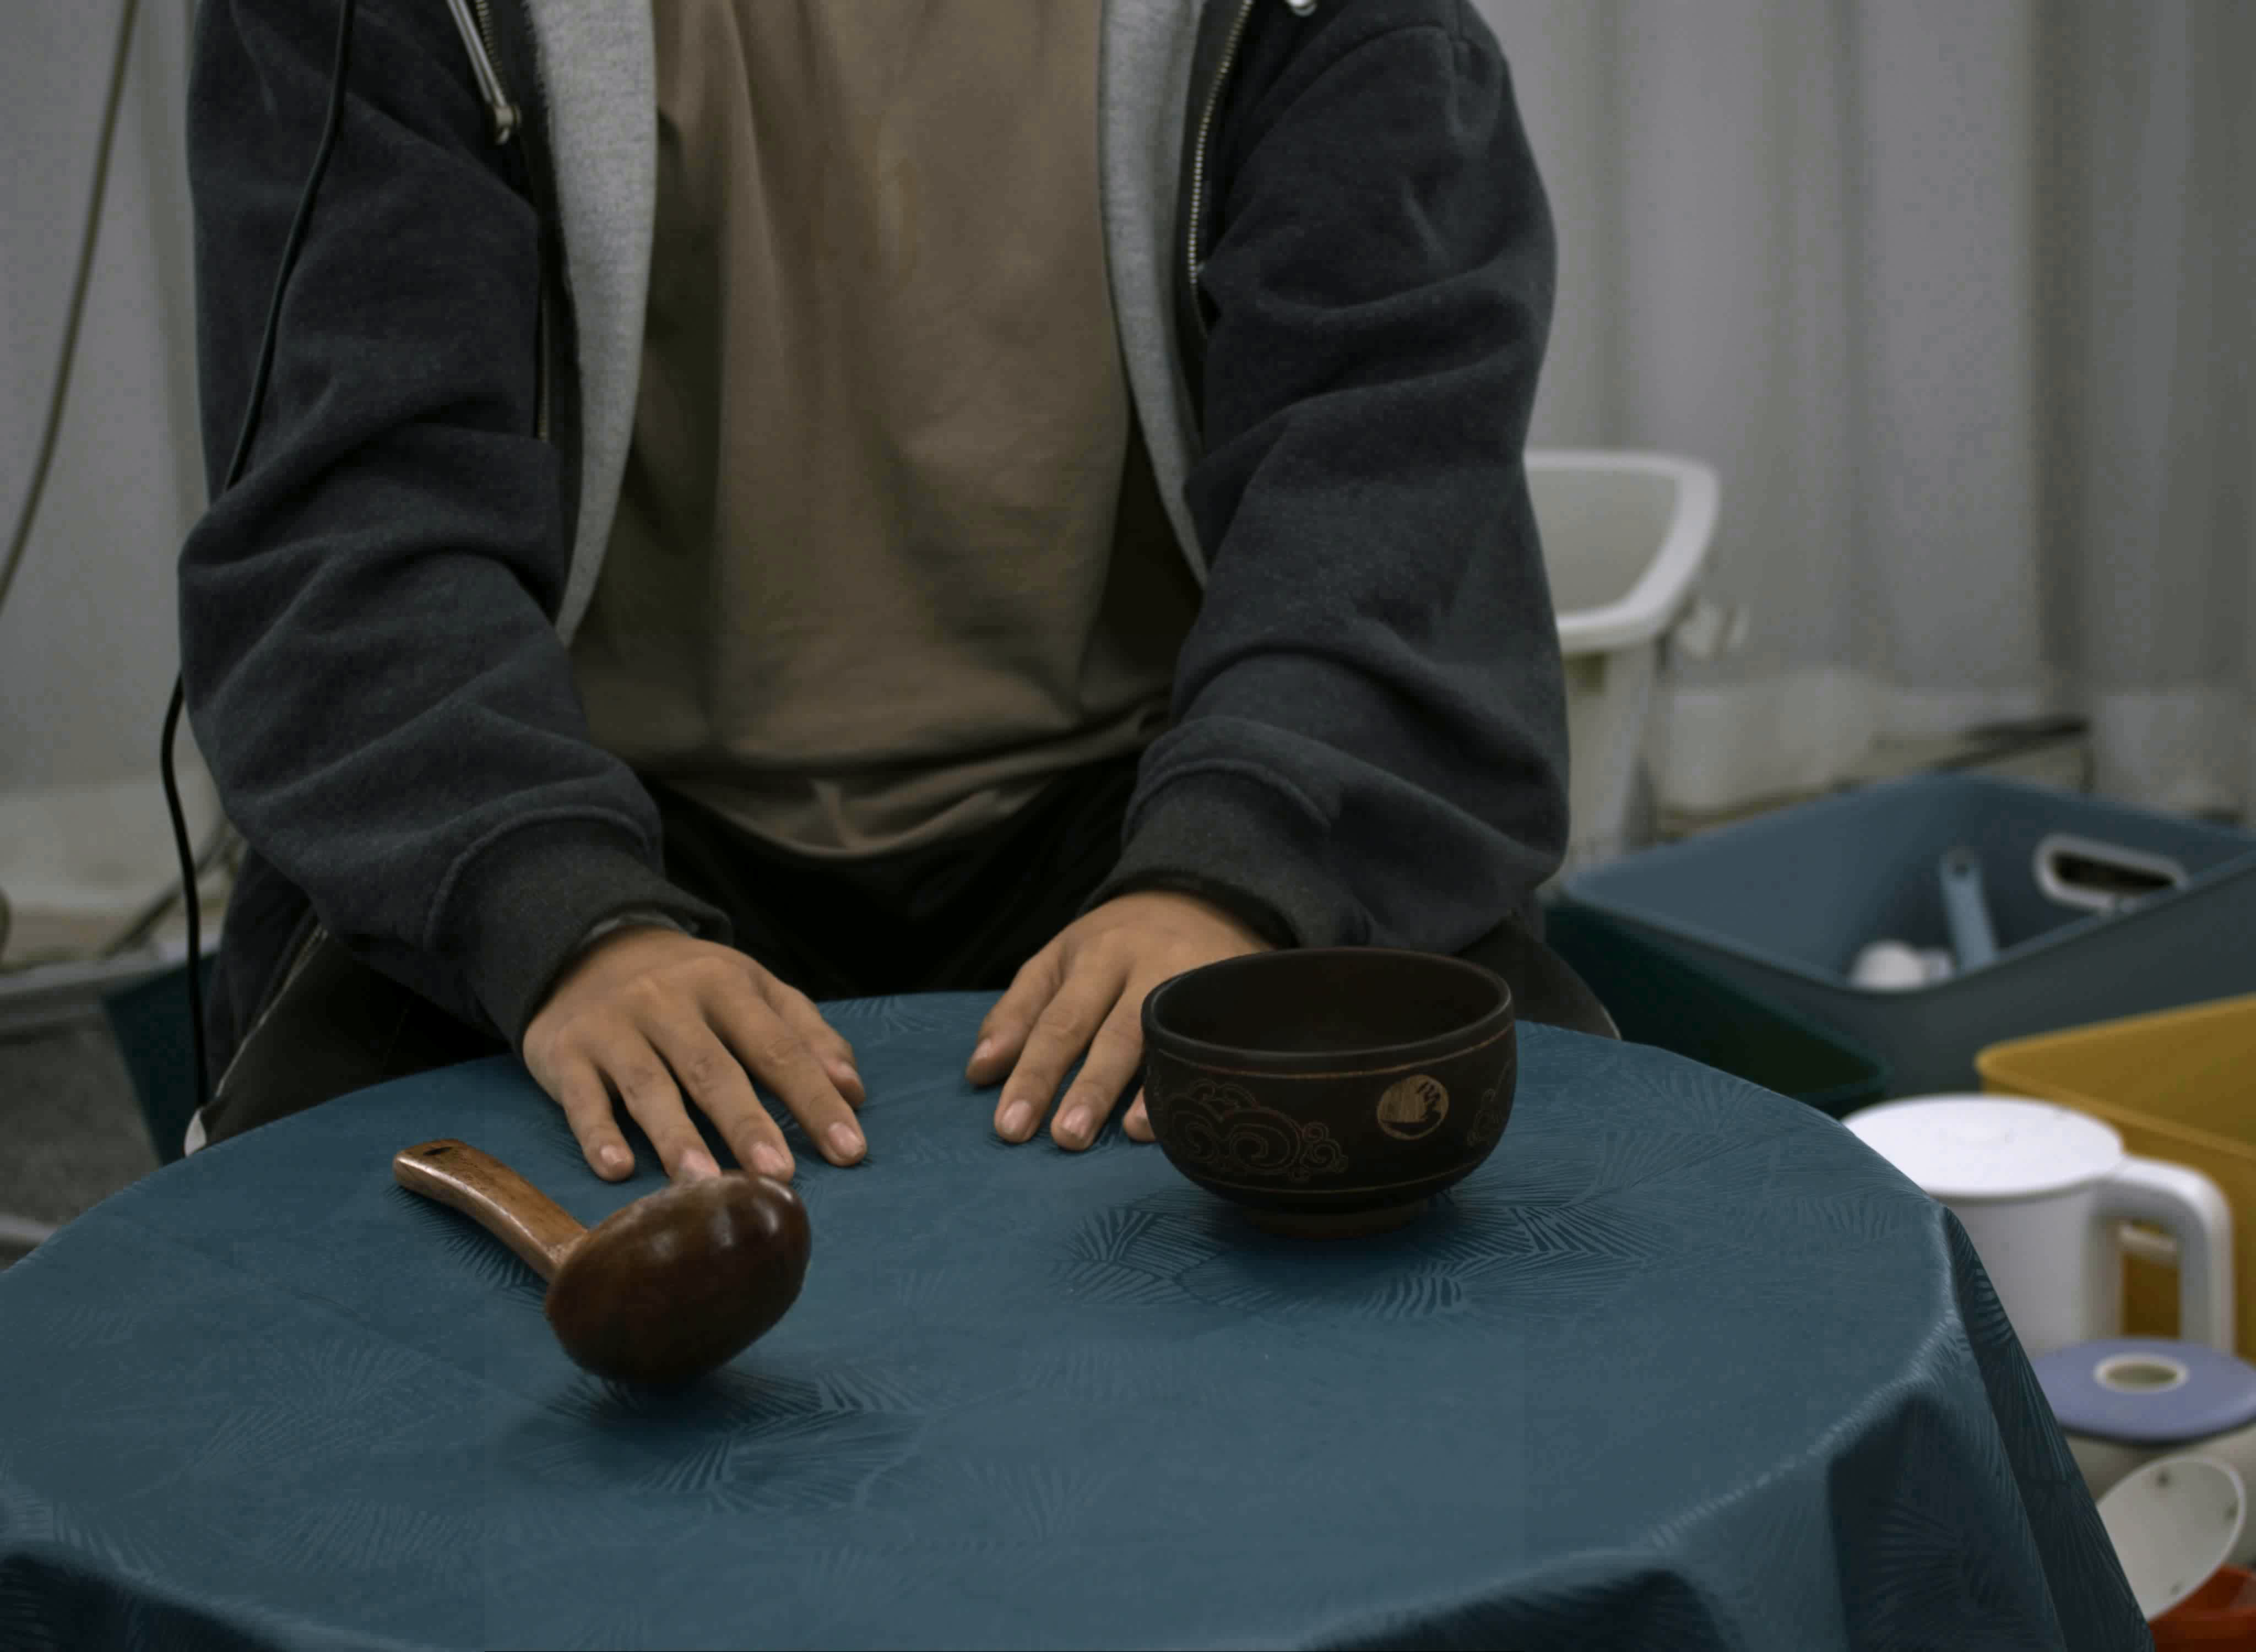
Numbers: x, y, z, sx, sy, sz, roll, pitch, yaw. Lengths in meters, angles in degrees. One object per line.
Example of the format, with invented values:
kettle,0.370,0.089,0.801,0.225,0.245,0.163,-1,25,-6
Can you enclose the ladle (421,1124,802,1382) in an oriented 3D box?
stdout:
ladle,-0.172,0.104,1.638,0.081,0.076,0.276,-14,18,-21

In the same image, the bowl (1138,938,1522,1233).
bowl,0.063,0.083,1.679,0.117,0.069,0.119,-3,15,1
